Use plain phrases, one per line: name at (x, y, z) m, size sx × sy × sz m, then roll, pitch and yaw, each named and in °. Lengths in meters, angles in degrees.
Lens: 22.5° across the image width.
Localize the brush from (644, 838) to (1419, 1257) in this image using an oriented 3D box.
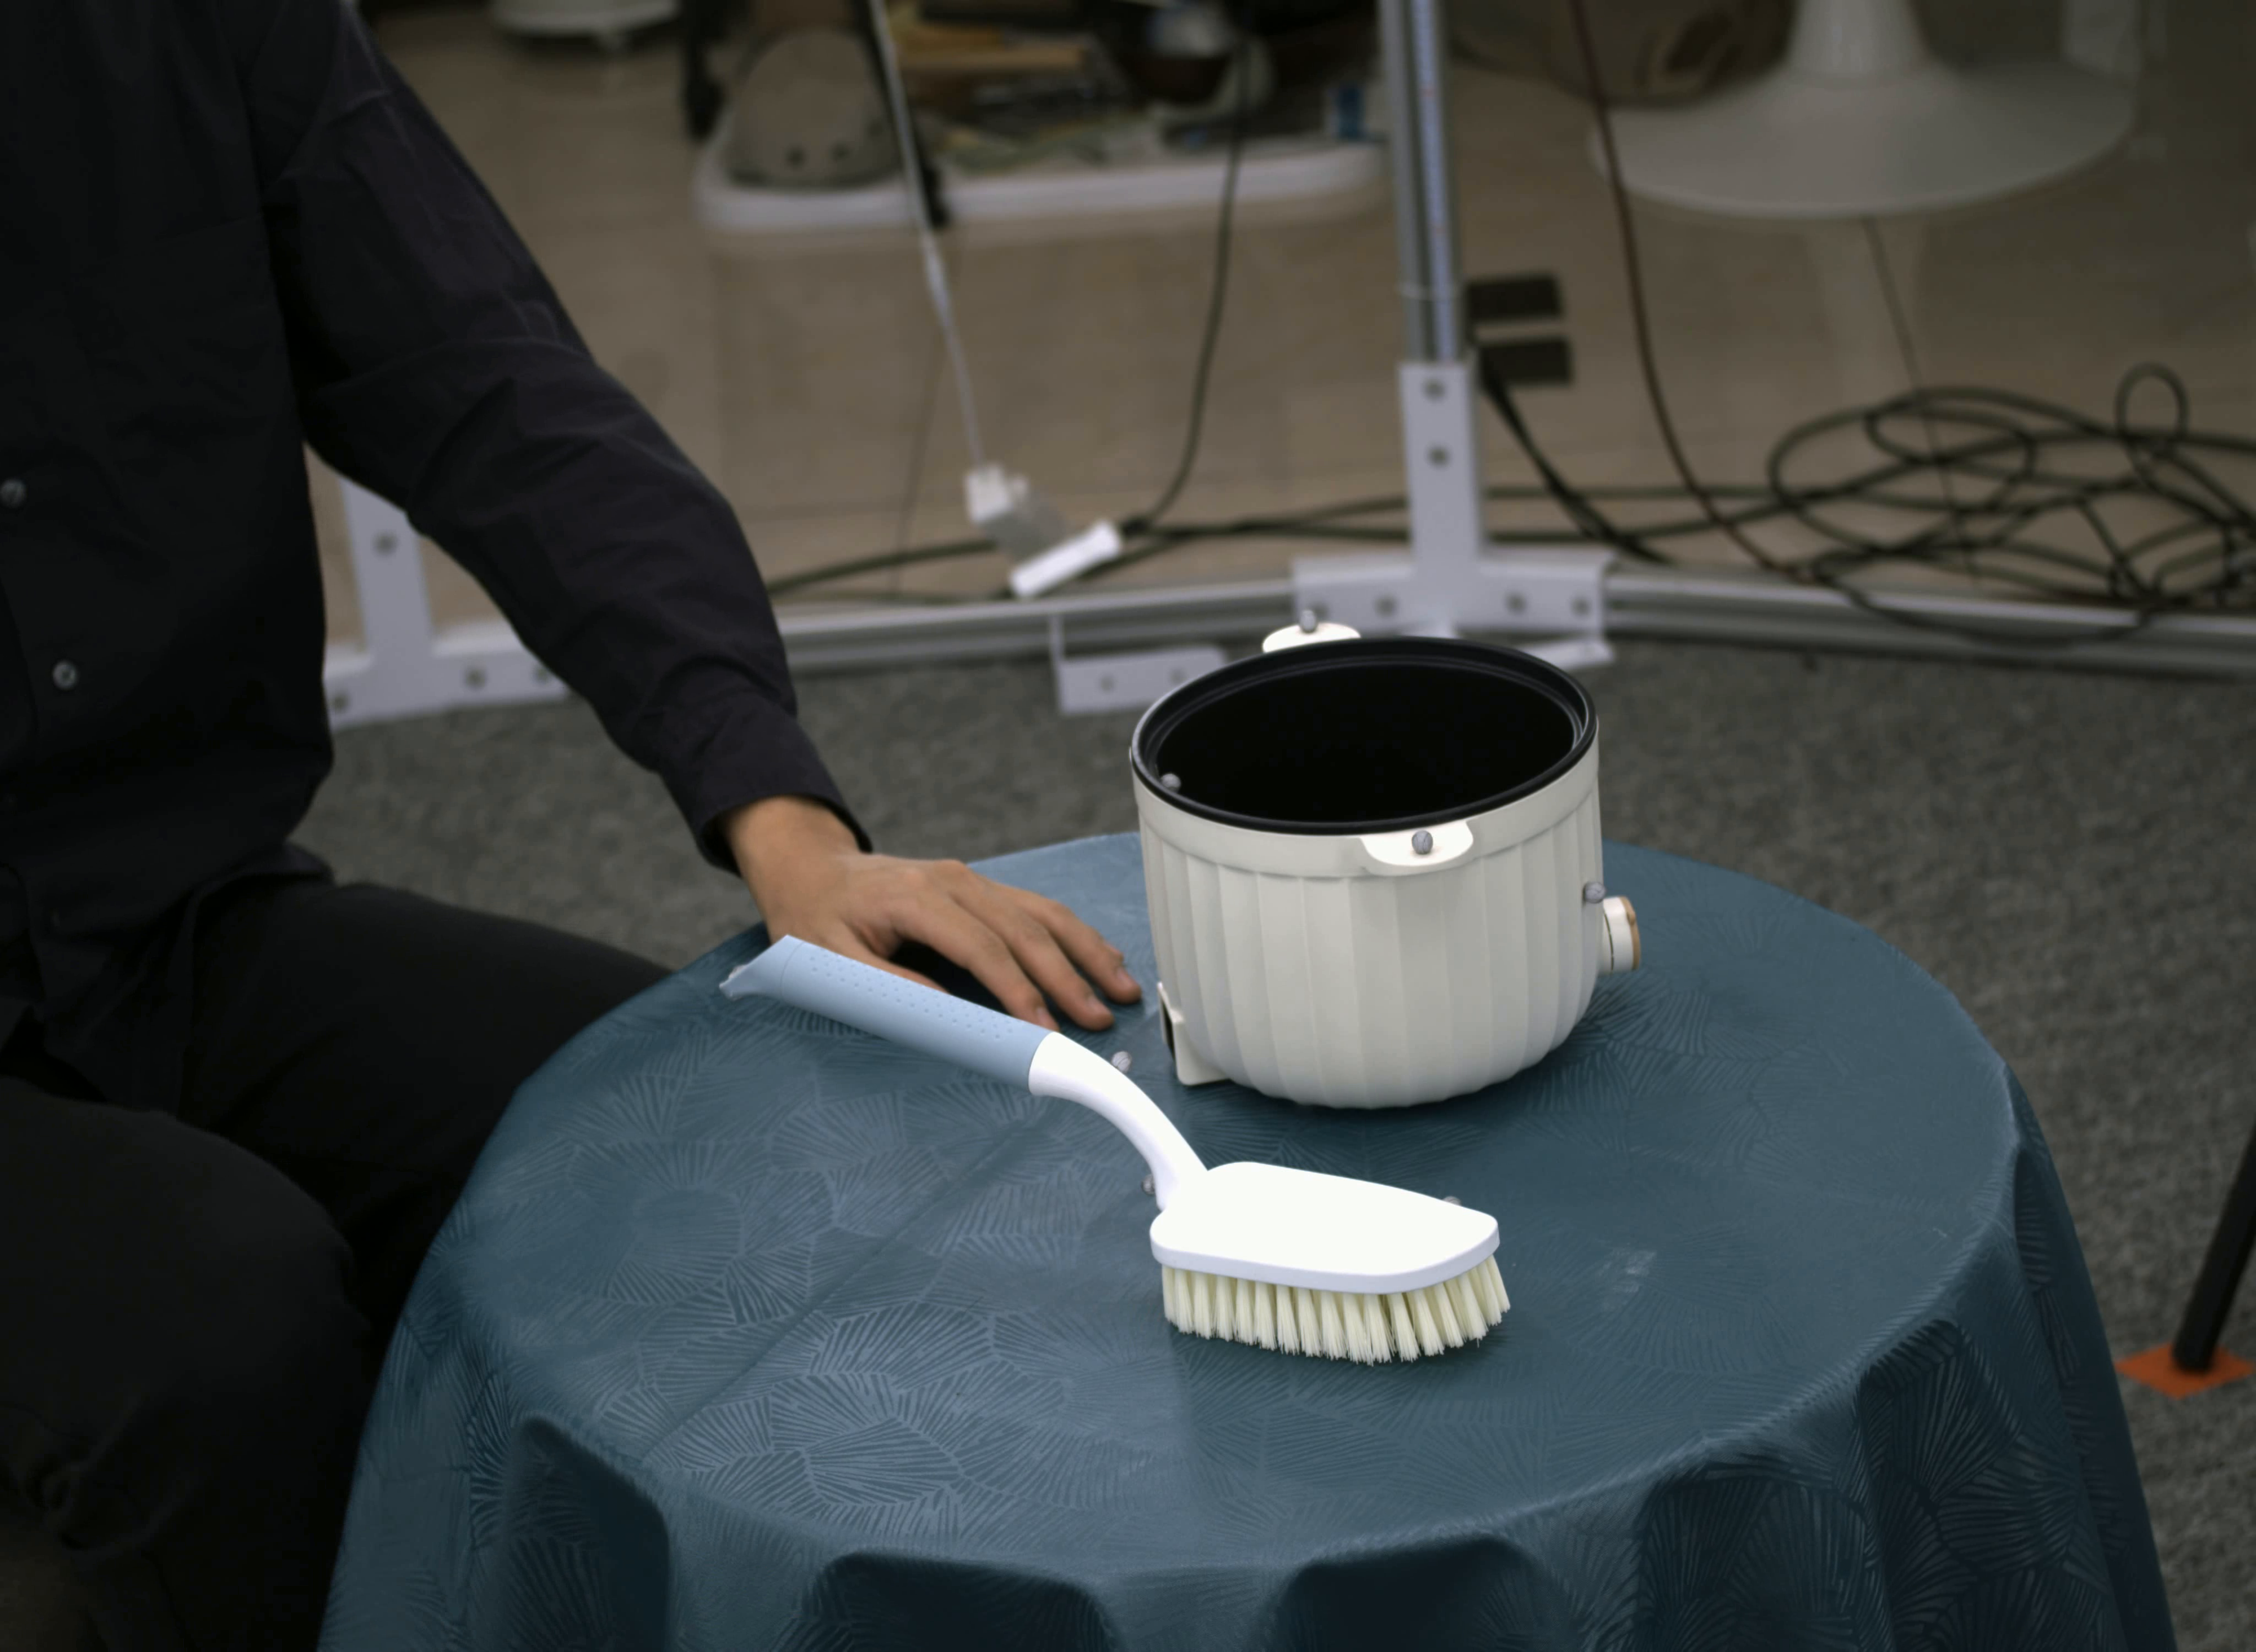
brush at (-0.040, 0.092, 2.103) m, size 0.323 × 0.084 × 0.083 m, roll 20°, pitch -2°, yaw 21°

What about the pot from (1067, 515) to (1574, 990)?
pot at (0.078, -0.025, 2.244) m, size 0.190 × 0.145 × 0.237 m, roll -12°, pitch 28°, yaw -6°
